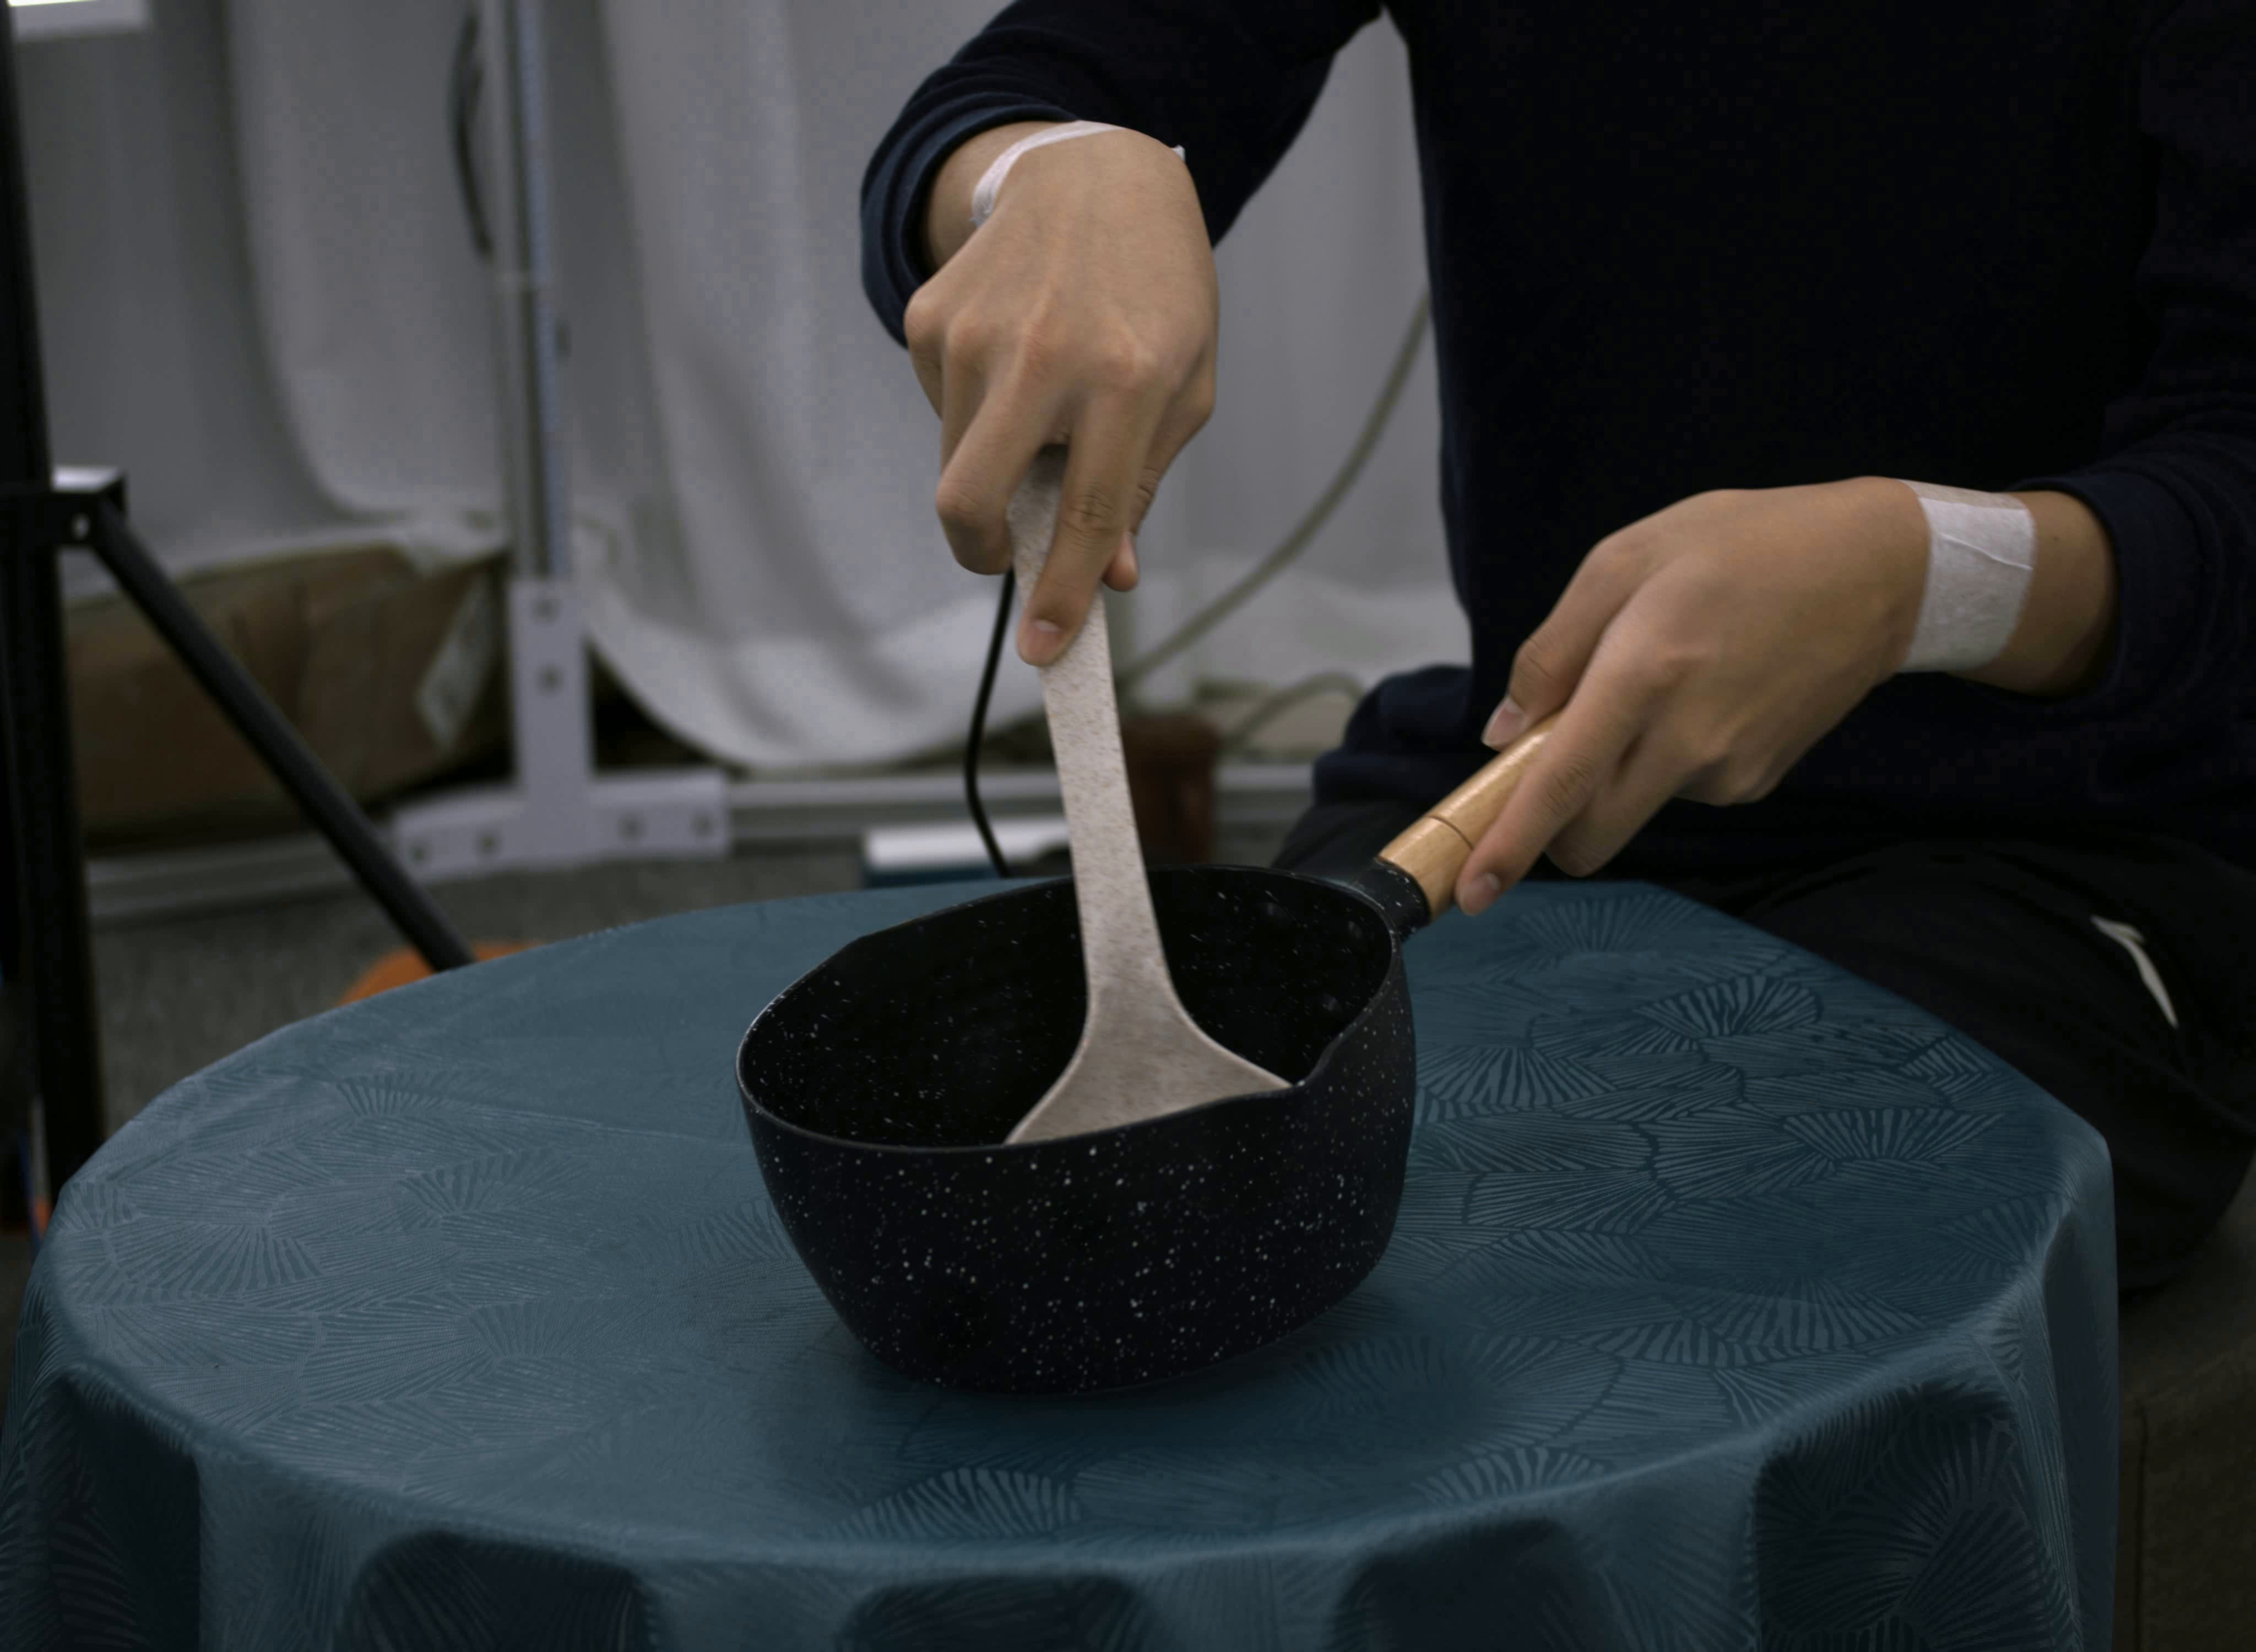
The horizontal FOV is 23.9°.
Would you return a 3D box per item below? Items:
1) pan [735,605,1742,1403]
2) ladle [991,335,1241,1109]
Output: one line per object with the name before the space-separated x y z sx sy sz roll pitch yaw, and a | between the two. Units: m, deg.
pan | 0.050 0.046 1.484 0.336 0.108 0.212 -26 23 -31
ladle | -0.012 -0.015 1.484 0.089 0.277 0.068 -11 -14 7
